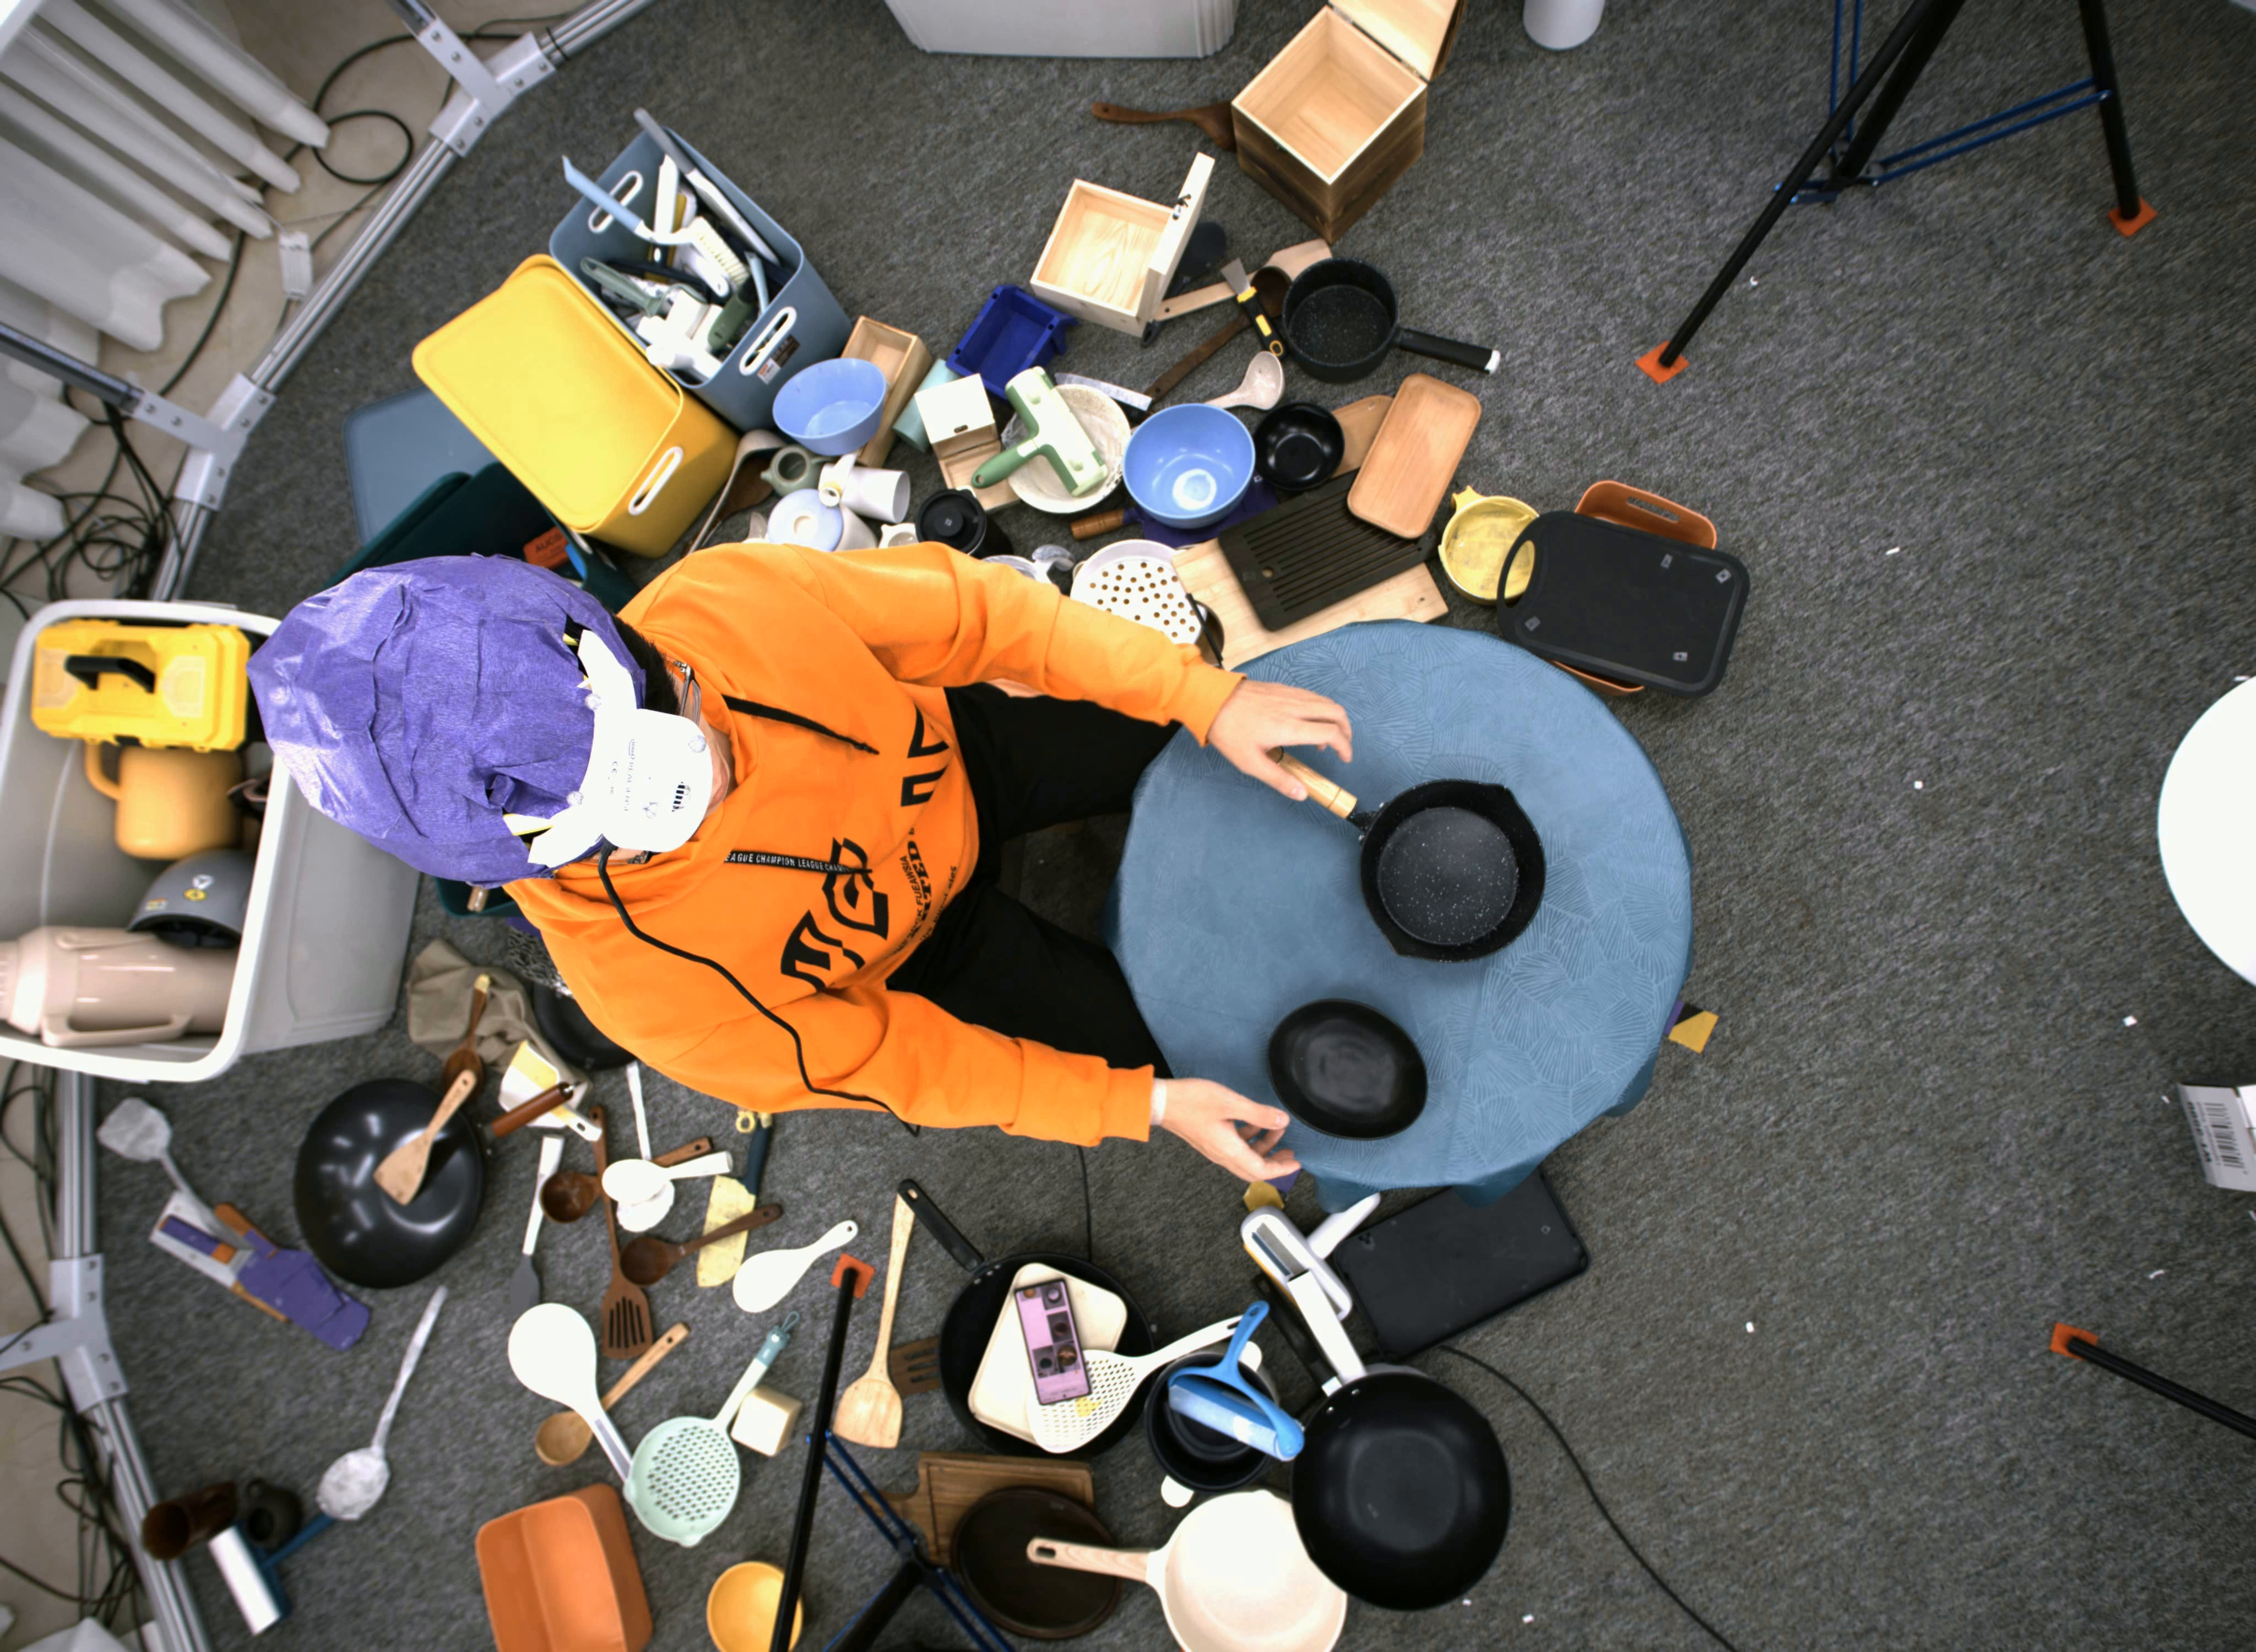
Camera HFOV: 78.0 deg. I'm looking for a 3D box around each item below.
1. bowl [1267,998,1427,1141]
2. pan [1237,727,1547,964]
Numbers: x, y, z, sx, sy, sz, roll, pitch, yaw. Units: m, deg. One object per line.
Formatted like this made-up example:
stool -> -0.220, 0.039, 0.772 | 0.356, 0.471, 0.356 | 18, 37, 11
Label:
bowl -> 0.226, 0.248, 1.426 | 0.170, 0.066, 0.137 | 25, 91, 9
pan -> 0.260, 0.004, 1.411 | 0.342, 0.108, 0.208 | 32, 94, 9
